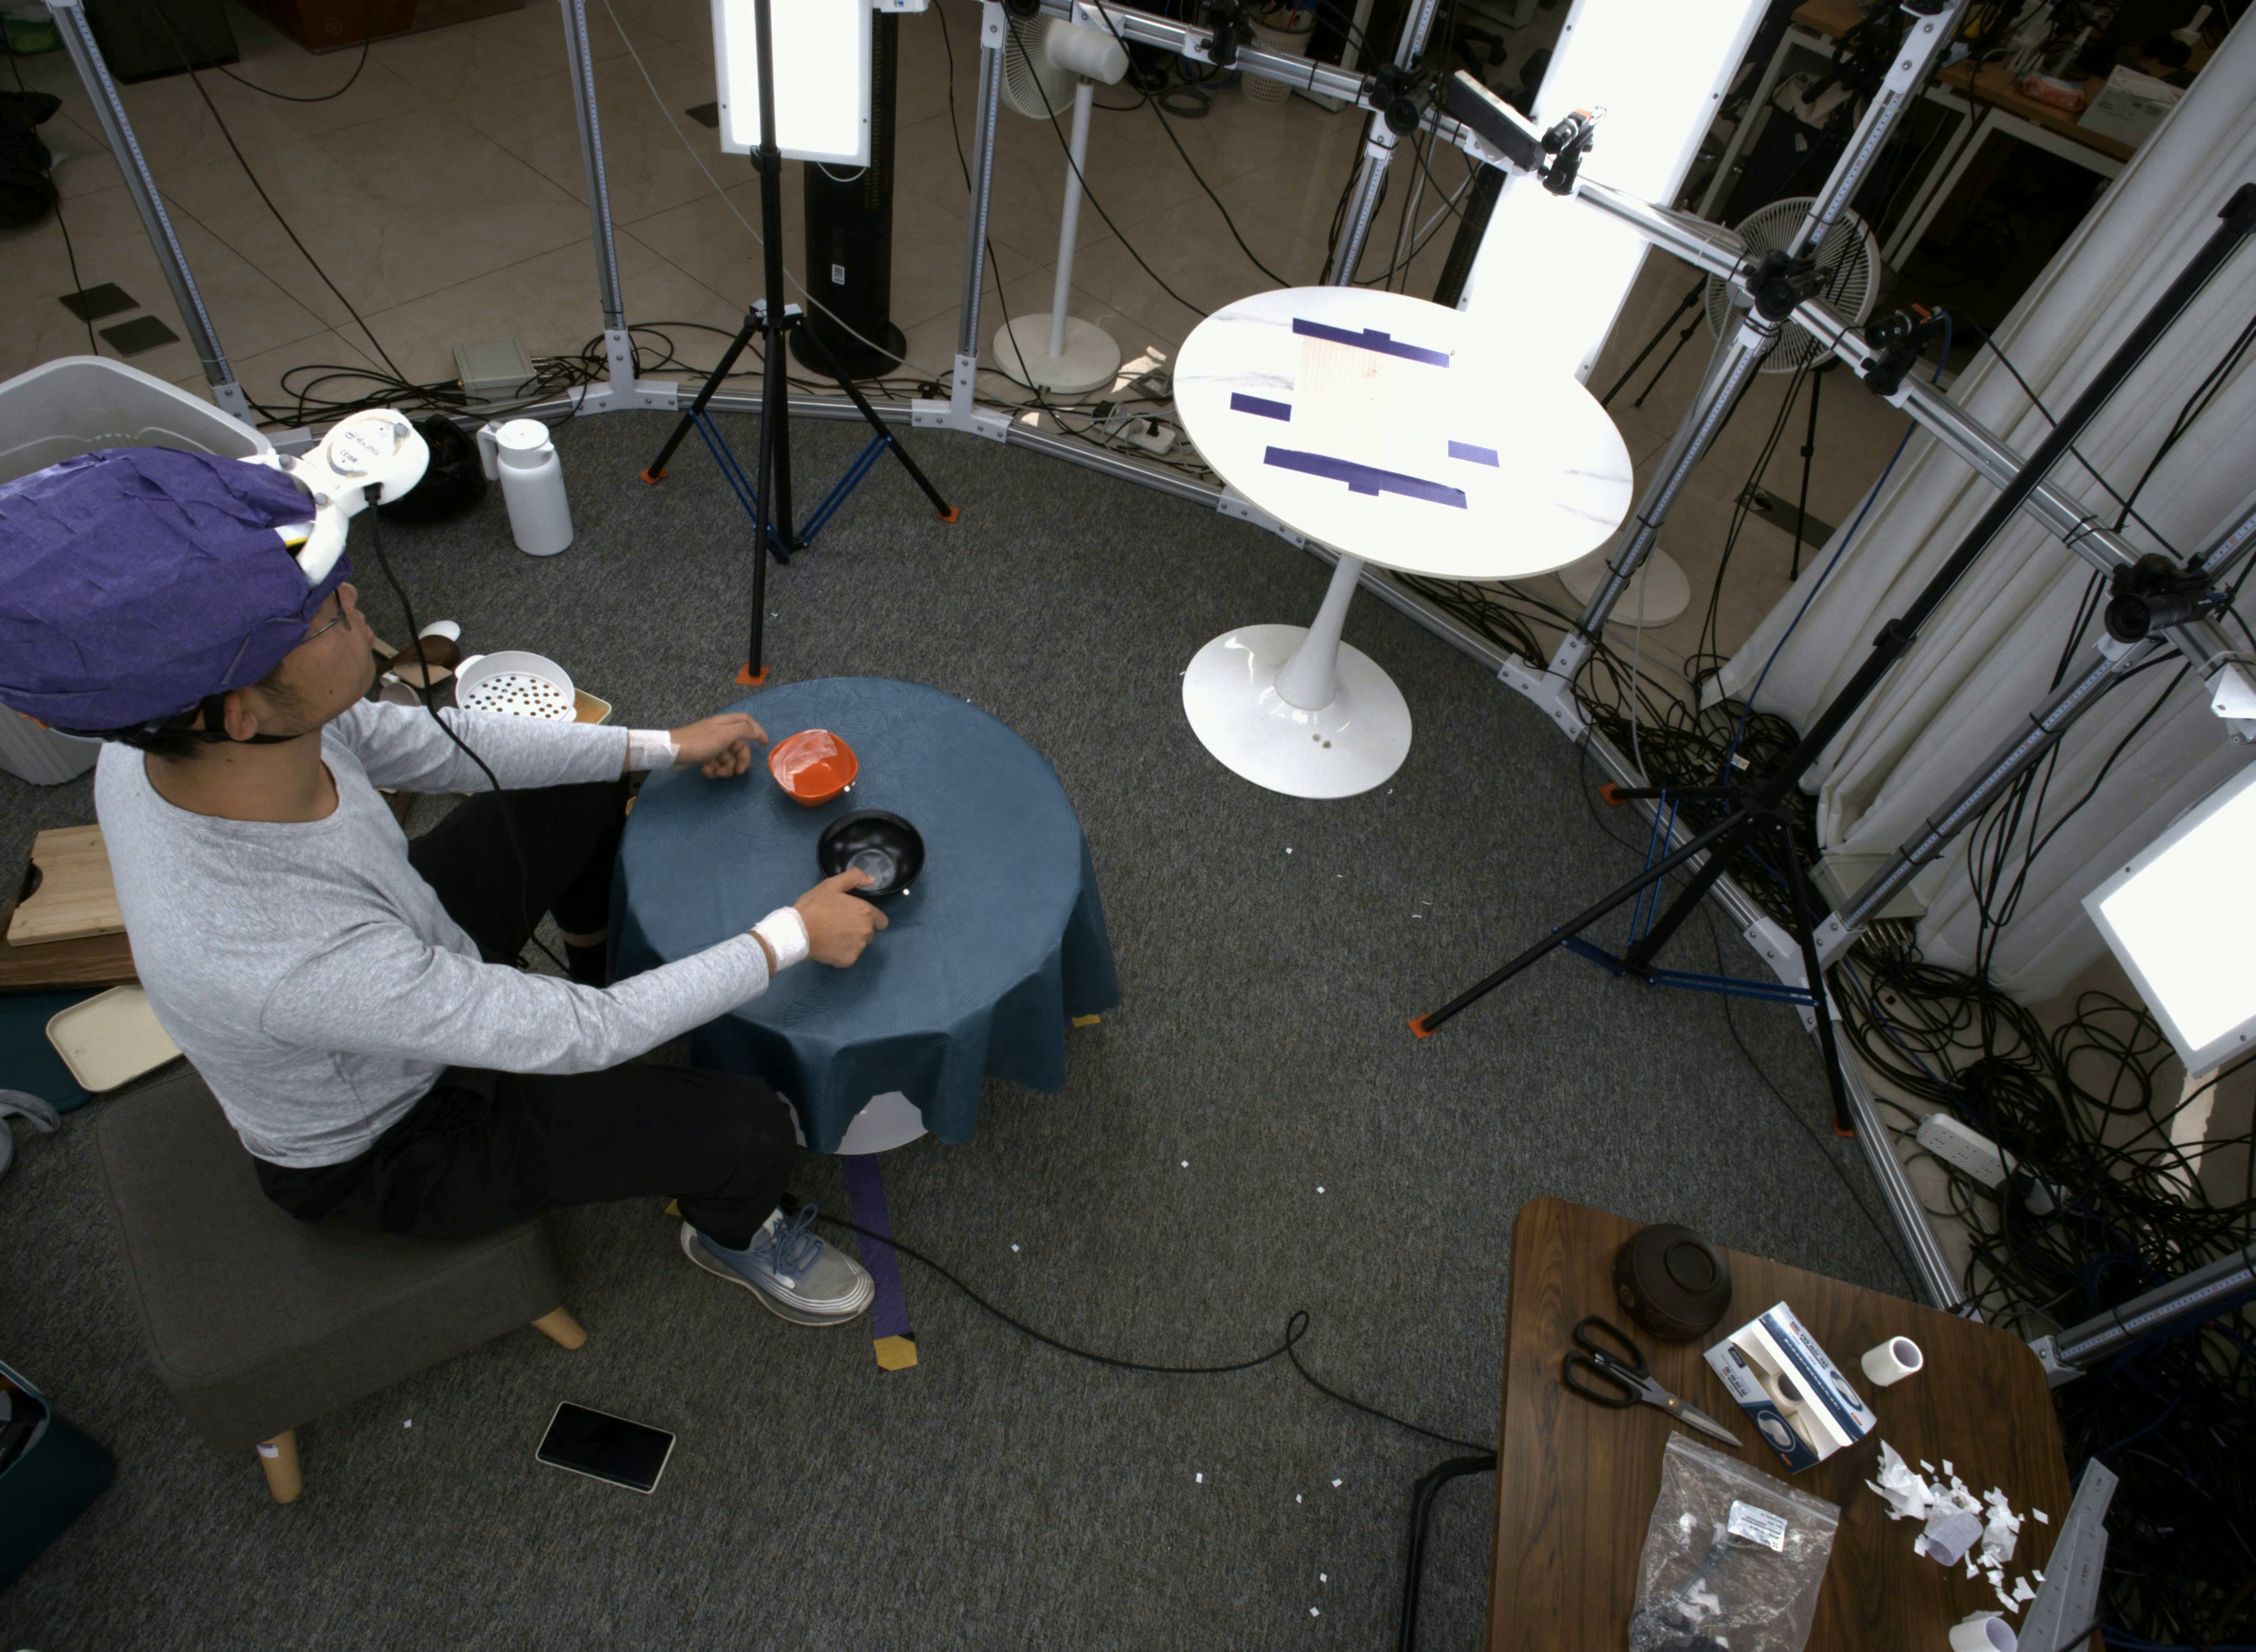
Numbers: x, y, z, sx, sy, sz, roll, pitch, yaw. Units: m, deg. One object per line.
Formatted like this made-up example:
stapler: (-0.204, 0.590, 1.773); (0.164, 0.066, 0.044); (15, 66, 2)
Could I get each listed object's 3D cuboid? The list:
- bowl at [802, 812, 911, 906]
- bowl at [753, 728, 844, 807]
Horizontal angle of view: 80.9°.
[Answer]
bowl: (-0.351, 0.050, 1.688); (0.139, 0.051, 0.137); (6, 54, -6)
bowl: (-0.445, -0.071, 1.748); (0.119, 0.052, 0.117); (9, 52, -10)
